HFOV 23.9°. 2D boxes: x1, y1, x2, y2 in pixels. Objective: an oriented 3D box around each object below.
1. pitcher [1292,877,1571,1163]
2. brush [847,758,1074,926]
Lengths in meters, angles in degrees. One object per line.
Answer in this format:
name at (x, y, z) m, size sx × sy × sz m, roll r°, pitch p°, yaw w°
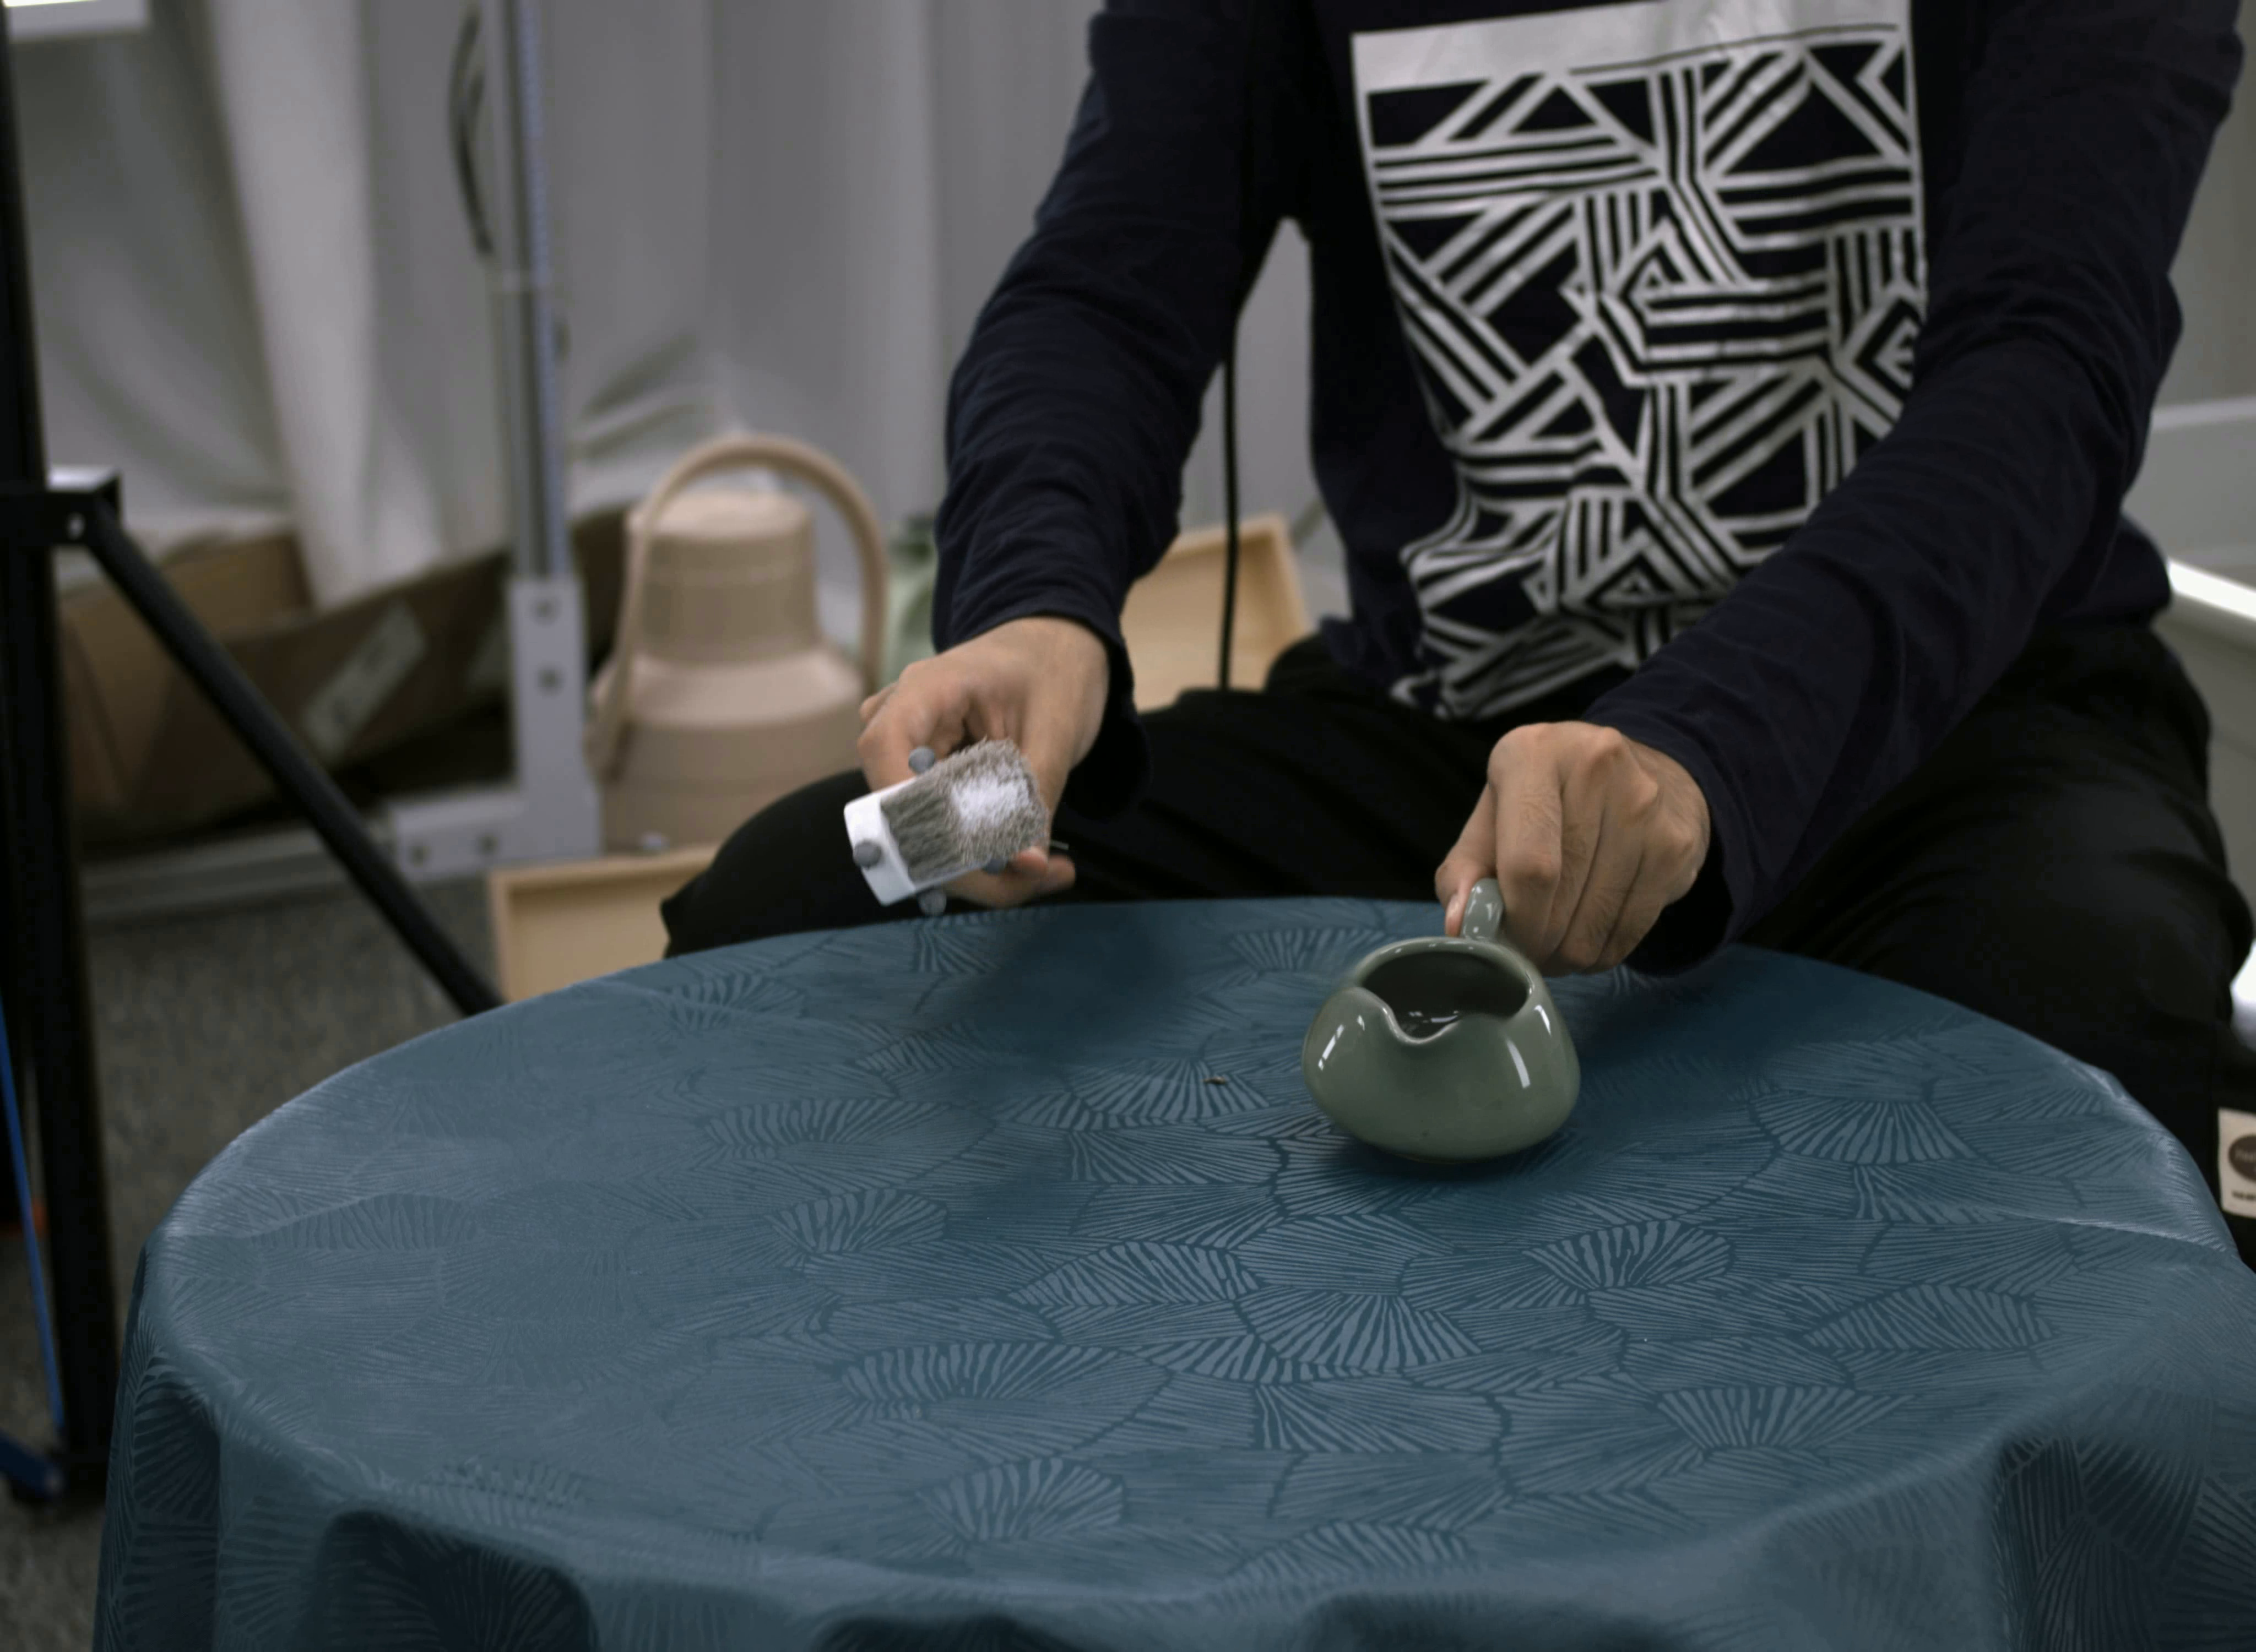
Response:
pitcher at (0.093, 0.060, 1.588) m, size 0.084 × 0.056 × 0.112 m, roll 10°, pitch 27°, yaw 11°
brush at (-0.034, 0.001, 1.678) m, size 0.050 × 0.034 × 0.241 m, roll -33°, pitch -6°, yaw 12°
